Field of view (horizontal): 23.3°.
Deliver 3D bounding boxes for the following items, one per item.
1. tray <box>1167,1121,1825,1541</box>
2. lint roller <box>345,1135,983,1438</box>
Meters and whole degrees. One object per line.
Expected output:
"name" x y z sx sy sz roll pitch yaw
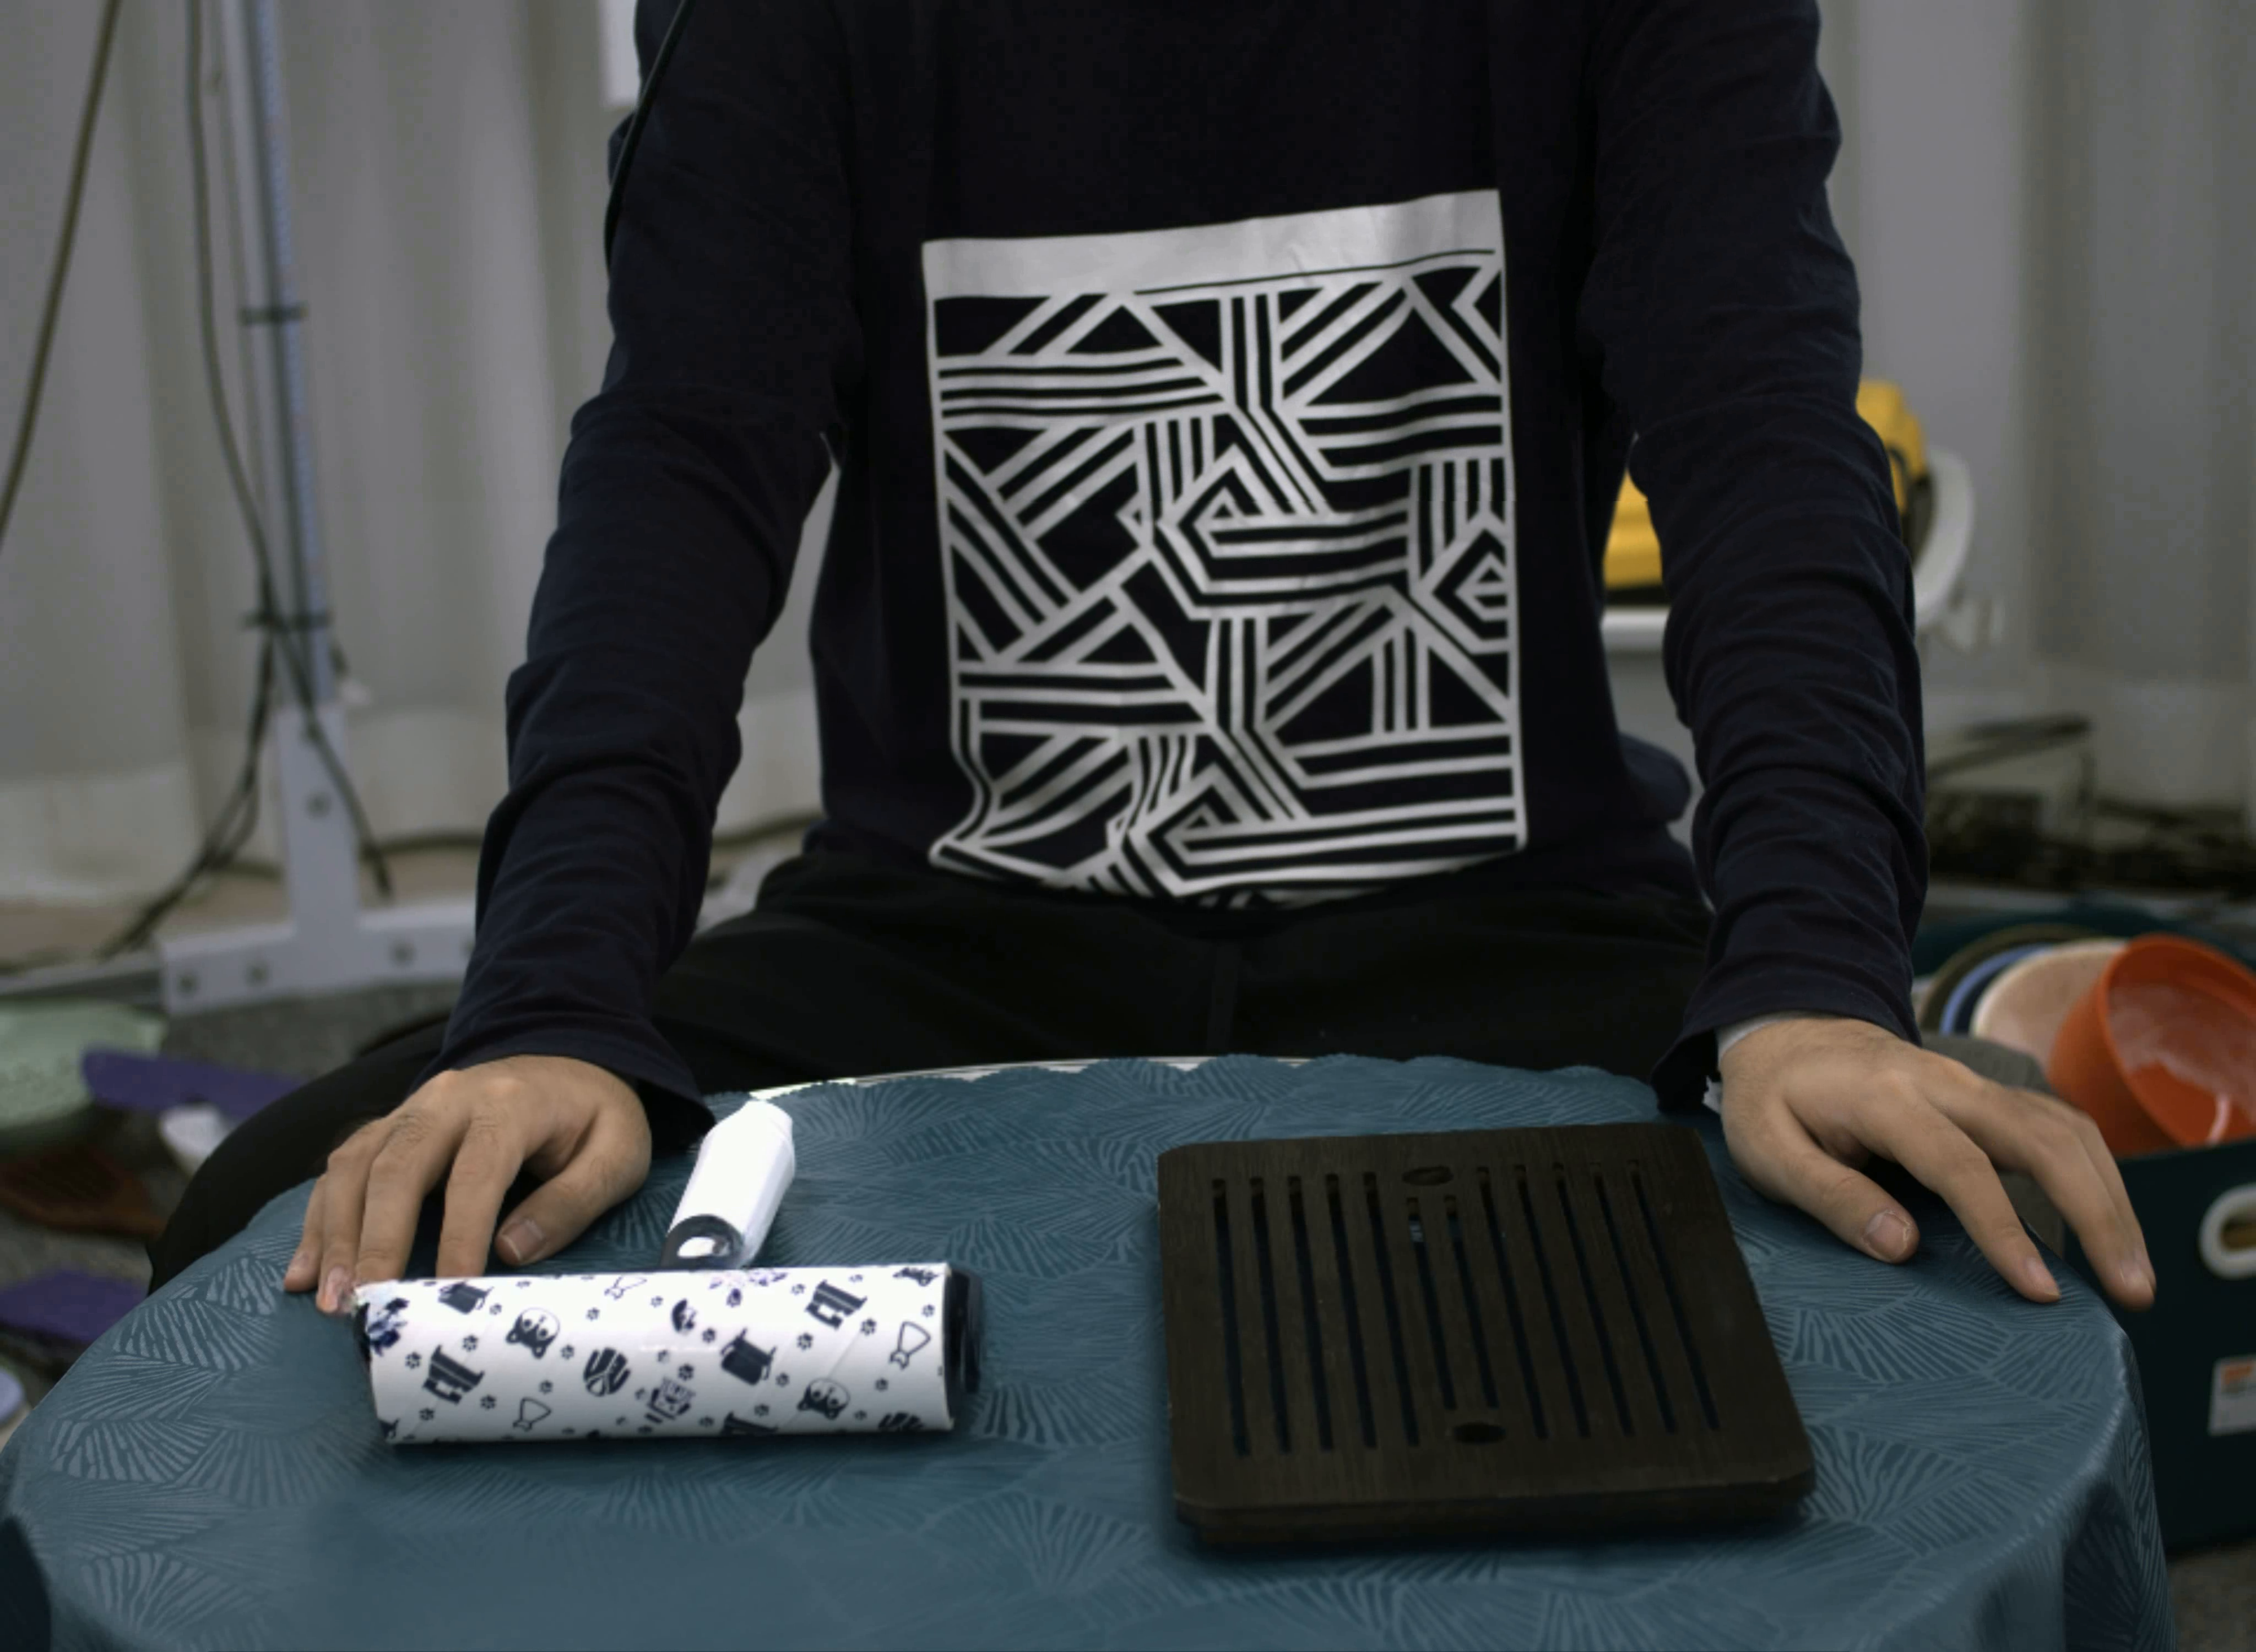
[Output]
"tray" 0.097 0.141 1.563 0.169 0.018 0.308 -3 14 1
"lint roller" -0.126 0.125 1.626 0.176 0.050 0.248 -3 12 3
